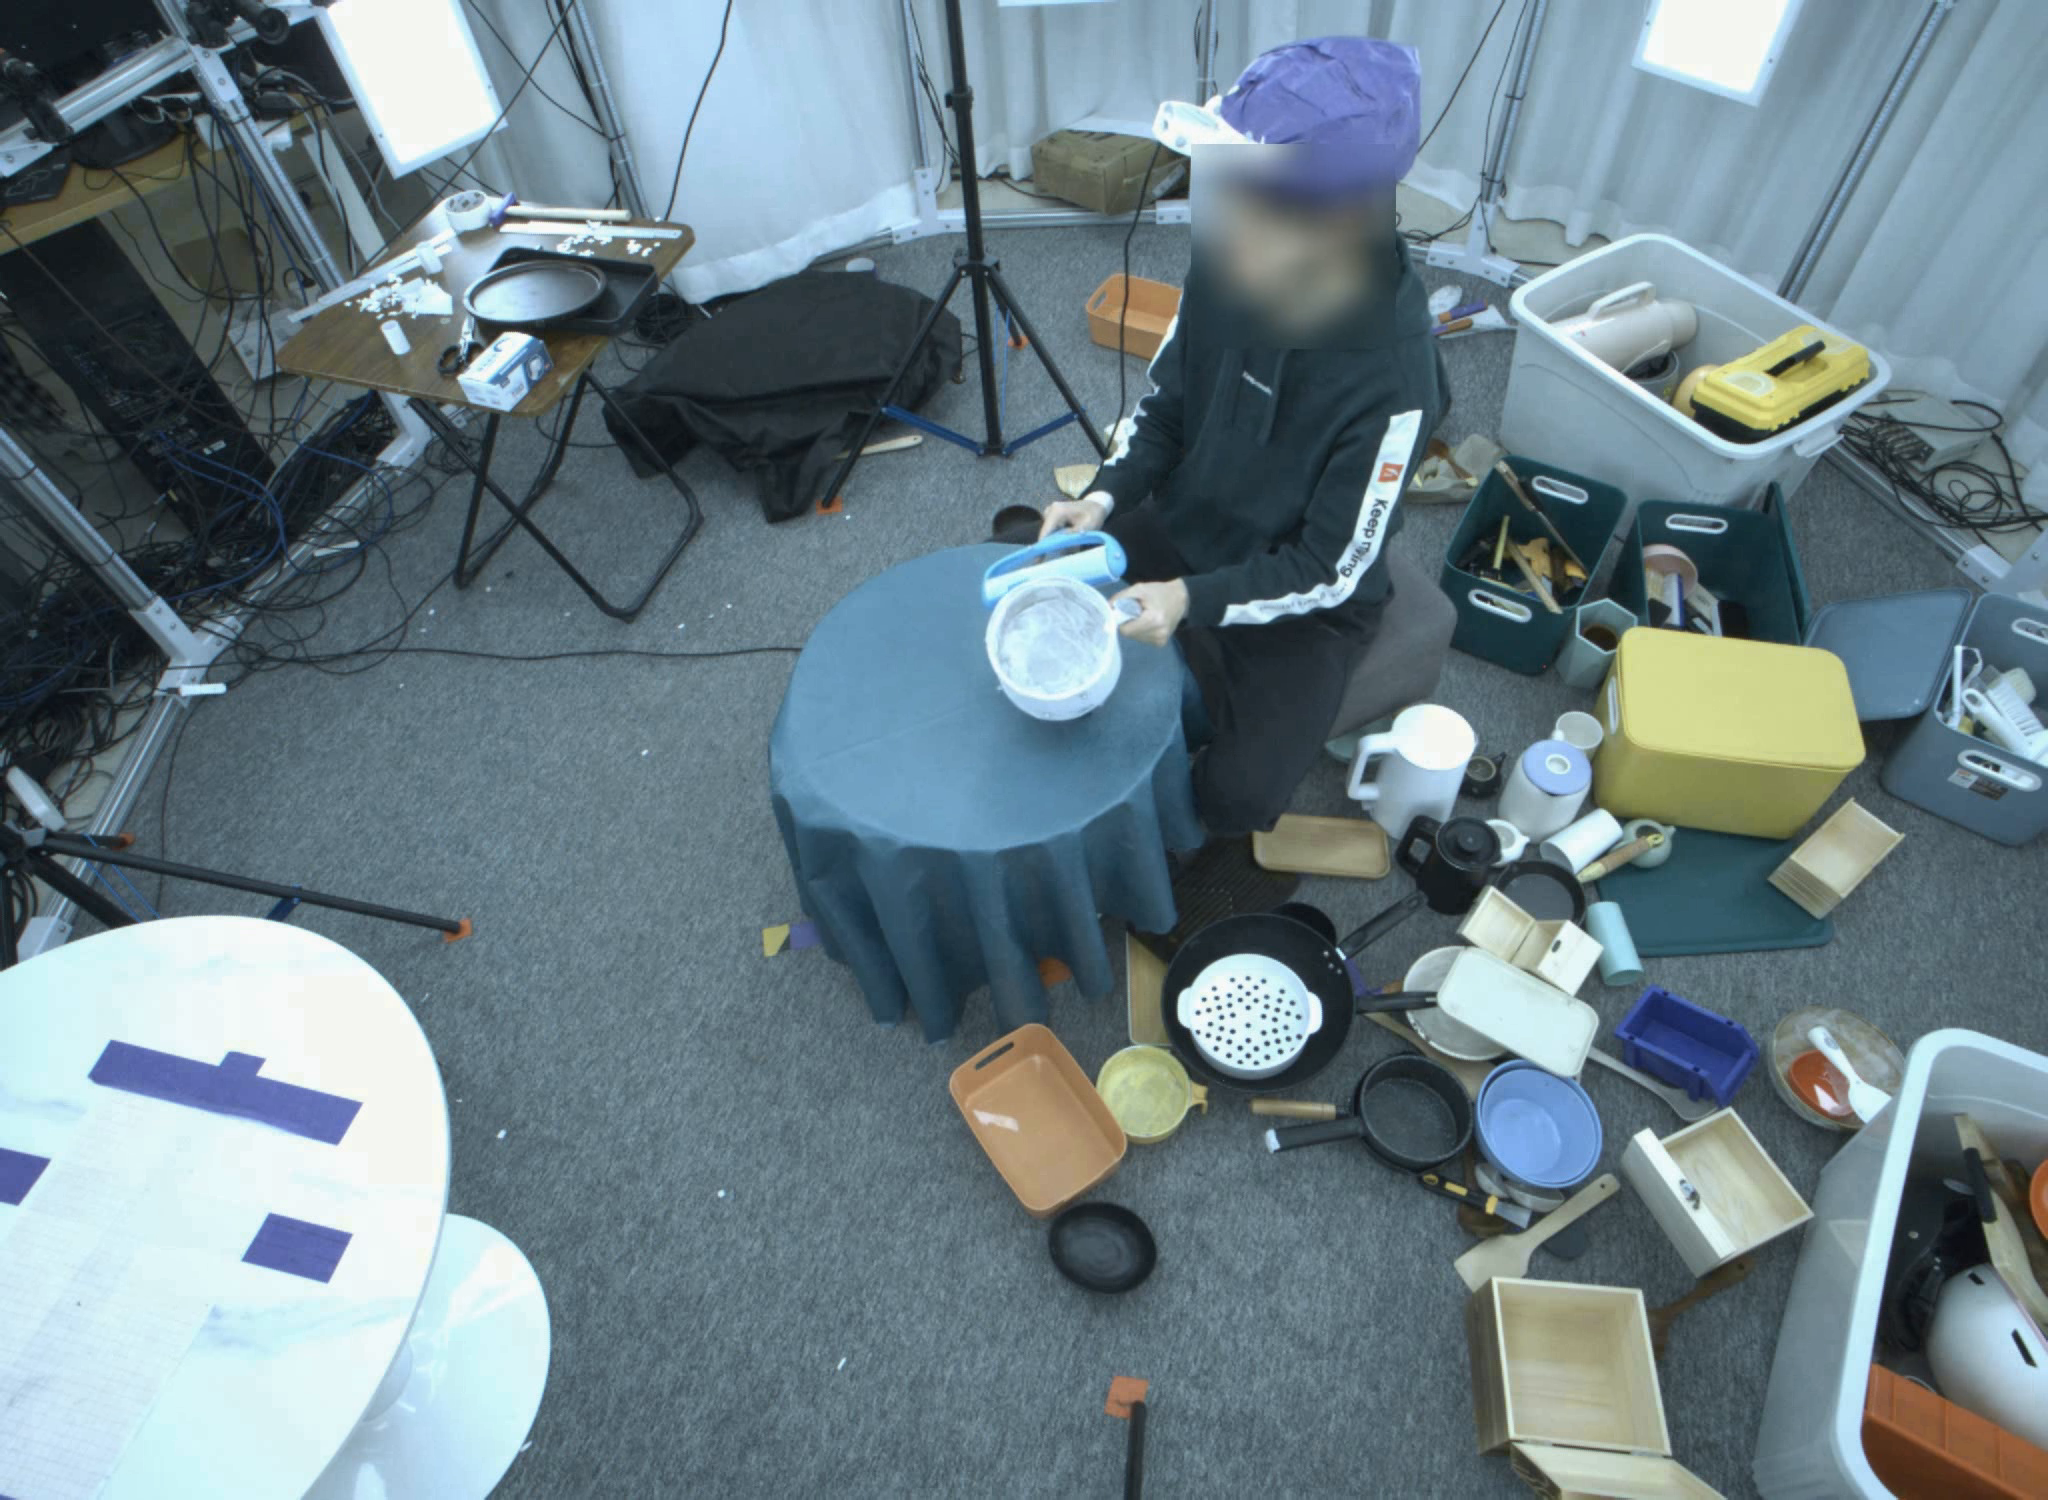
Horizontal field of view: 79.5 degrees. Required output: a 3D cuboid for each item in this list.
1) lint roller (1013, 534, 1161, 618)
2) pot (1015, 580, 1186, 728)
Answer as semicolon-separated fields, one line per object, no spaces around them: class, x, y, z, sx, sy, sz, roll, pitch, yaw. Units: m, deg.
lint roller;0.096;-0.273;1.776;0.226;0.069;0.179;-15;38;25
pot;0.111;-0.140;1.697;0.234;0.138;0.177;-25;75;1
